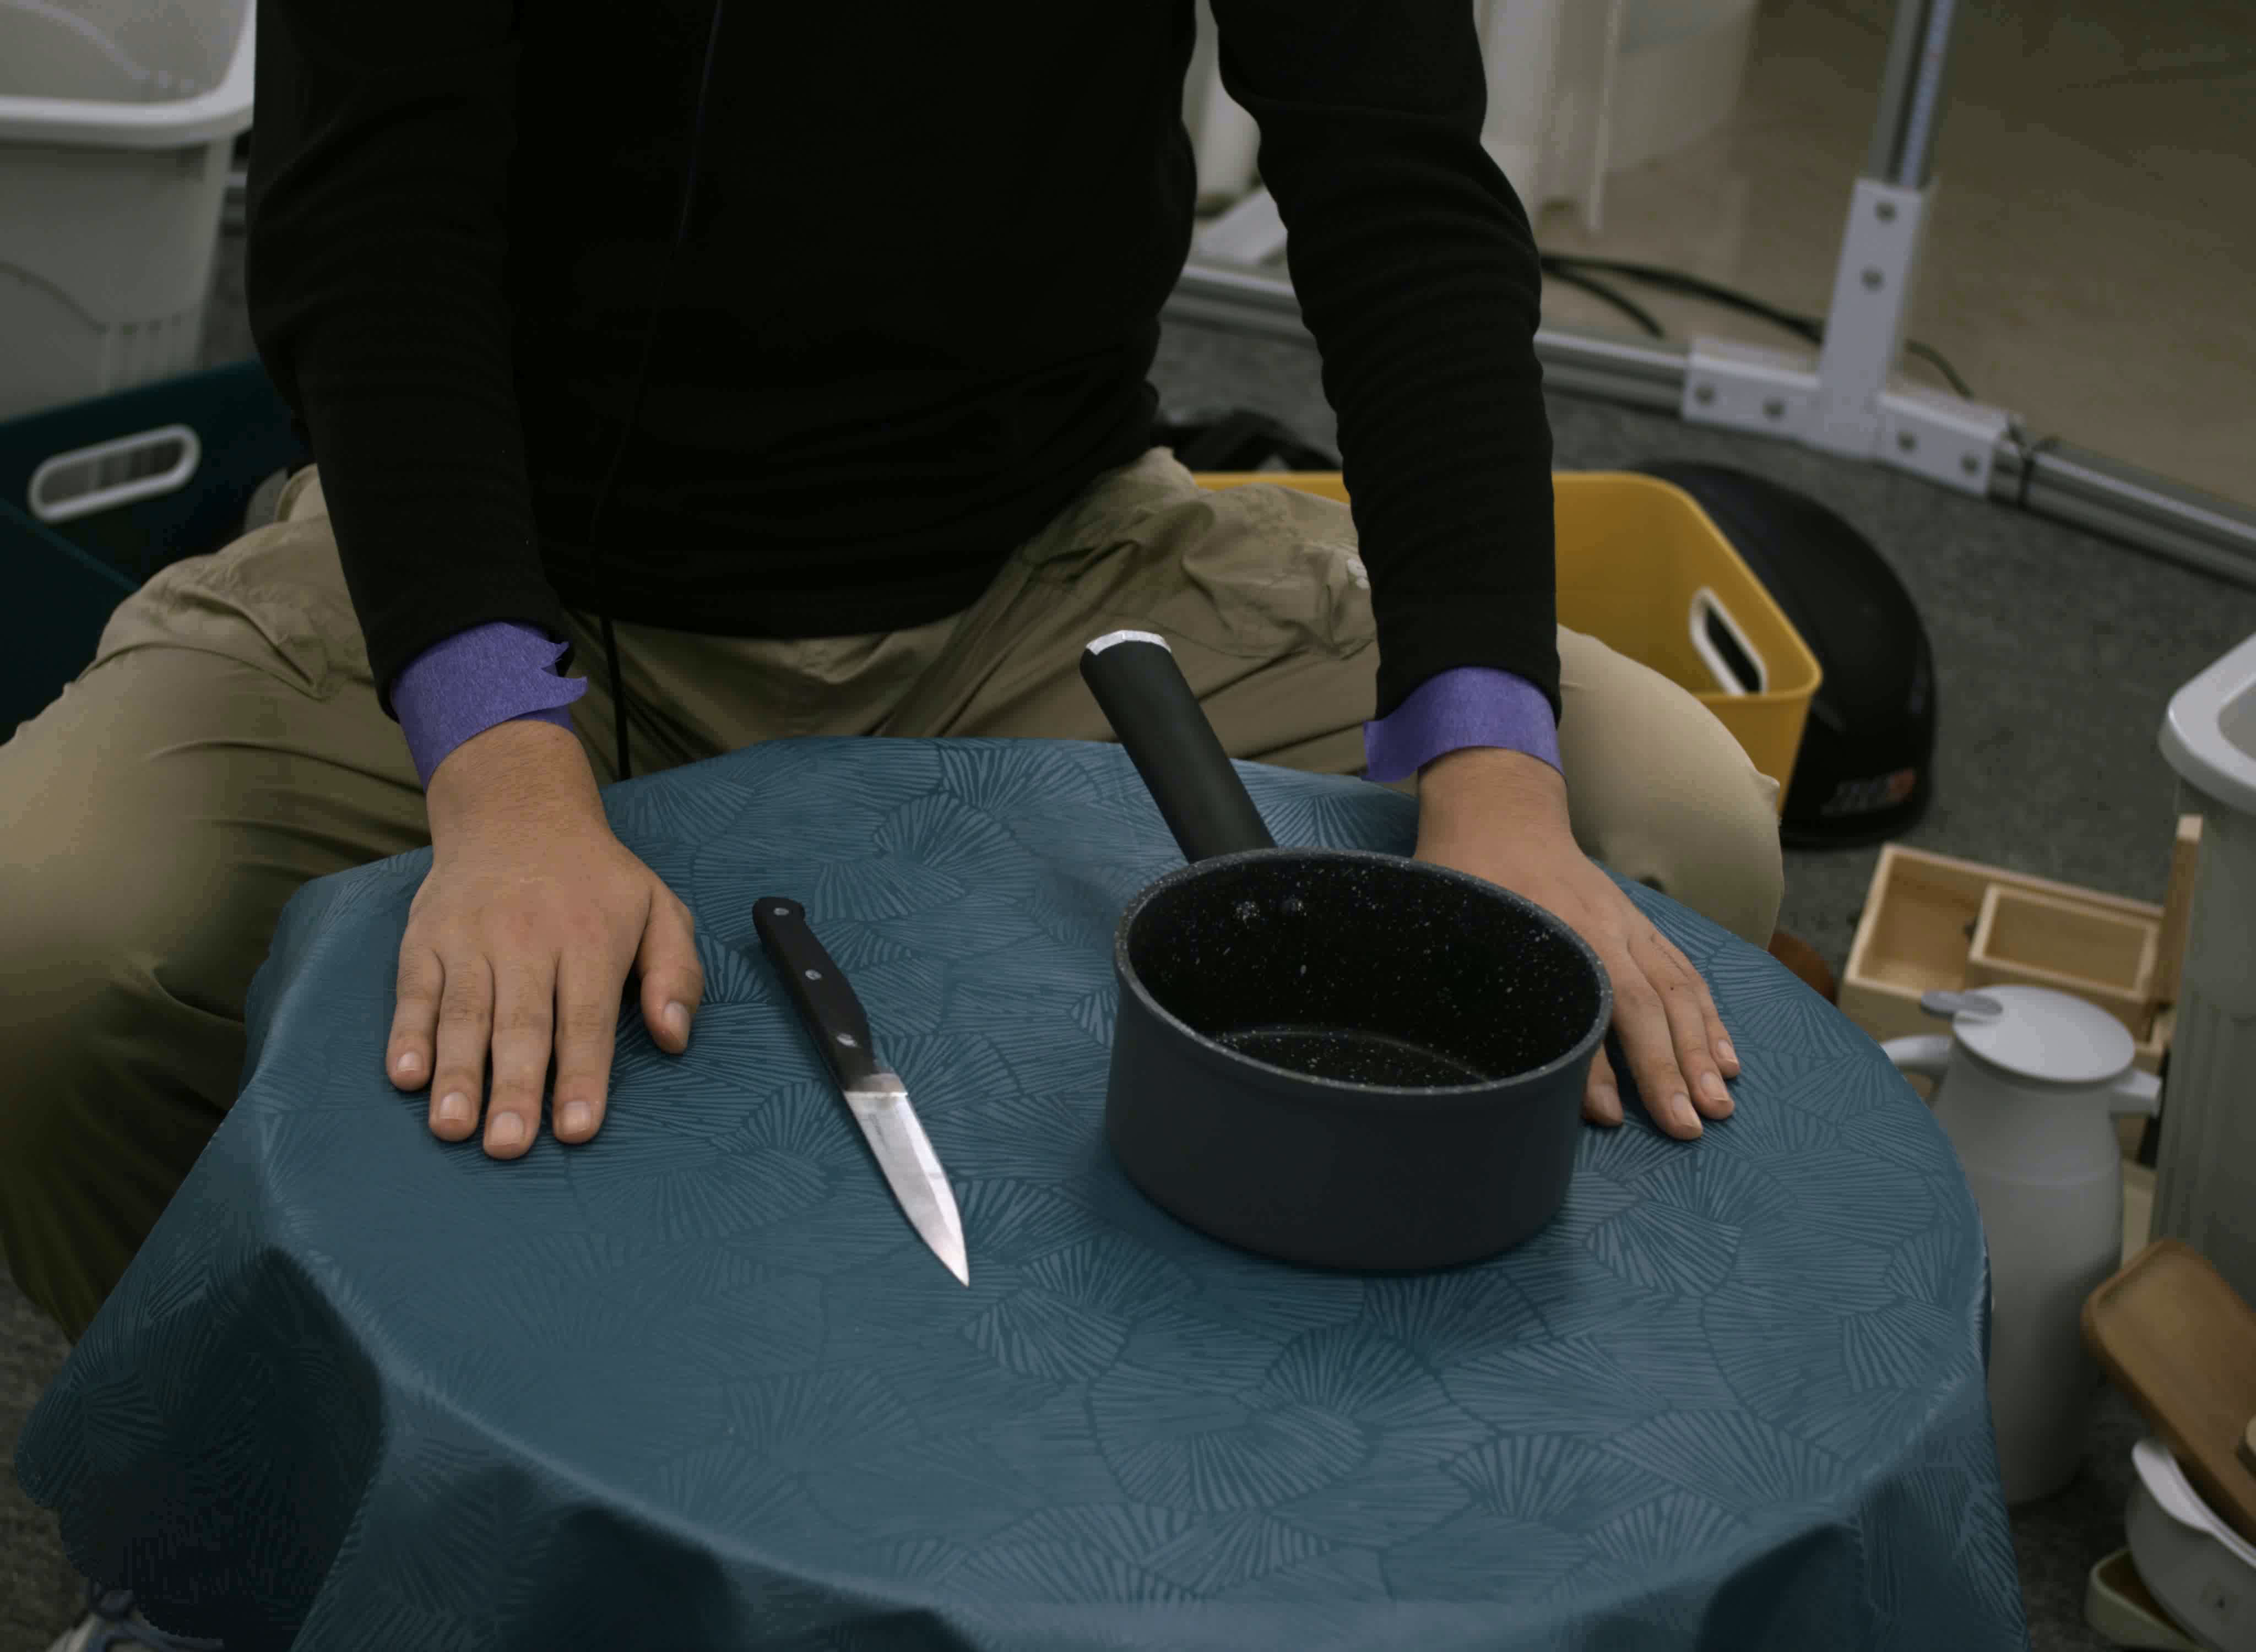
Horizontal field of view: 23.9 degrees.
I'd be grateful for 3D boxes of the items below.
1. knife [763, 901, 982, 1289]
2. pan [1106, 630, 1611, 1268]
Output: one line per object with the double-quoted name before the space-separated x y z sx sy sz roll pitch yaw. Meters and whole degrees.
"knife" -0.089 0.092 1.836 0.024 0.016 0.240 -2 31 -20
"pan" 0.052 0.040 1.889 0.171 0.086 0.331 -2 29 -18
